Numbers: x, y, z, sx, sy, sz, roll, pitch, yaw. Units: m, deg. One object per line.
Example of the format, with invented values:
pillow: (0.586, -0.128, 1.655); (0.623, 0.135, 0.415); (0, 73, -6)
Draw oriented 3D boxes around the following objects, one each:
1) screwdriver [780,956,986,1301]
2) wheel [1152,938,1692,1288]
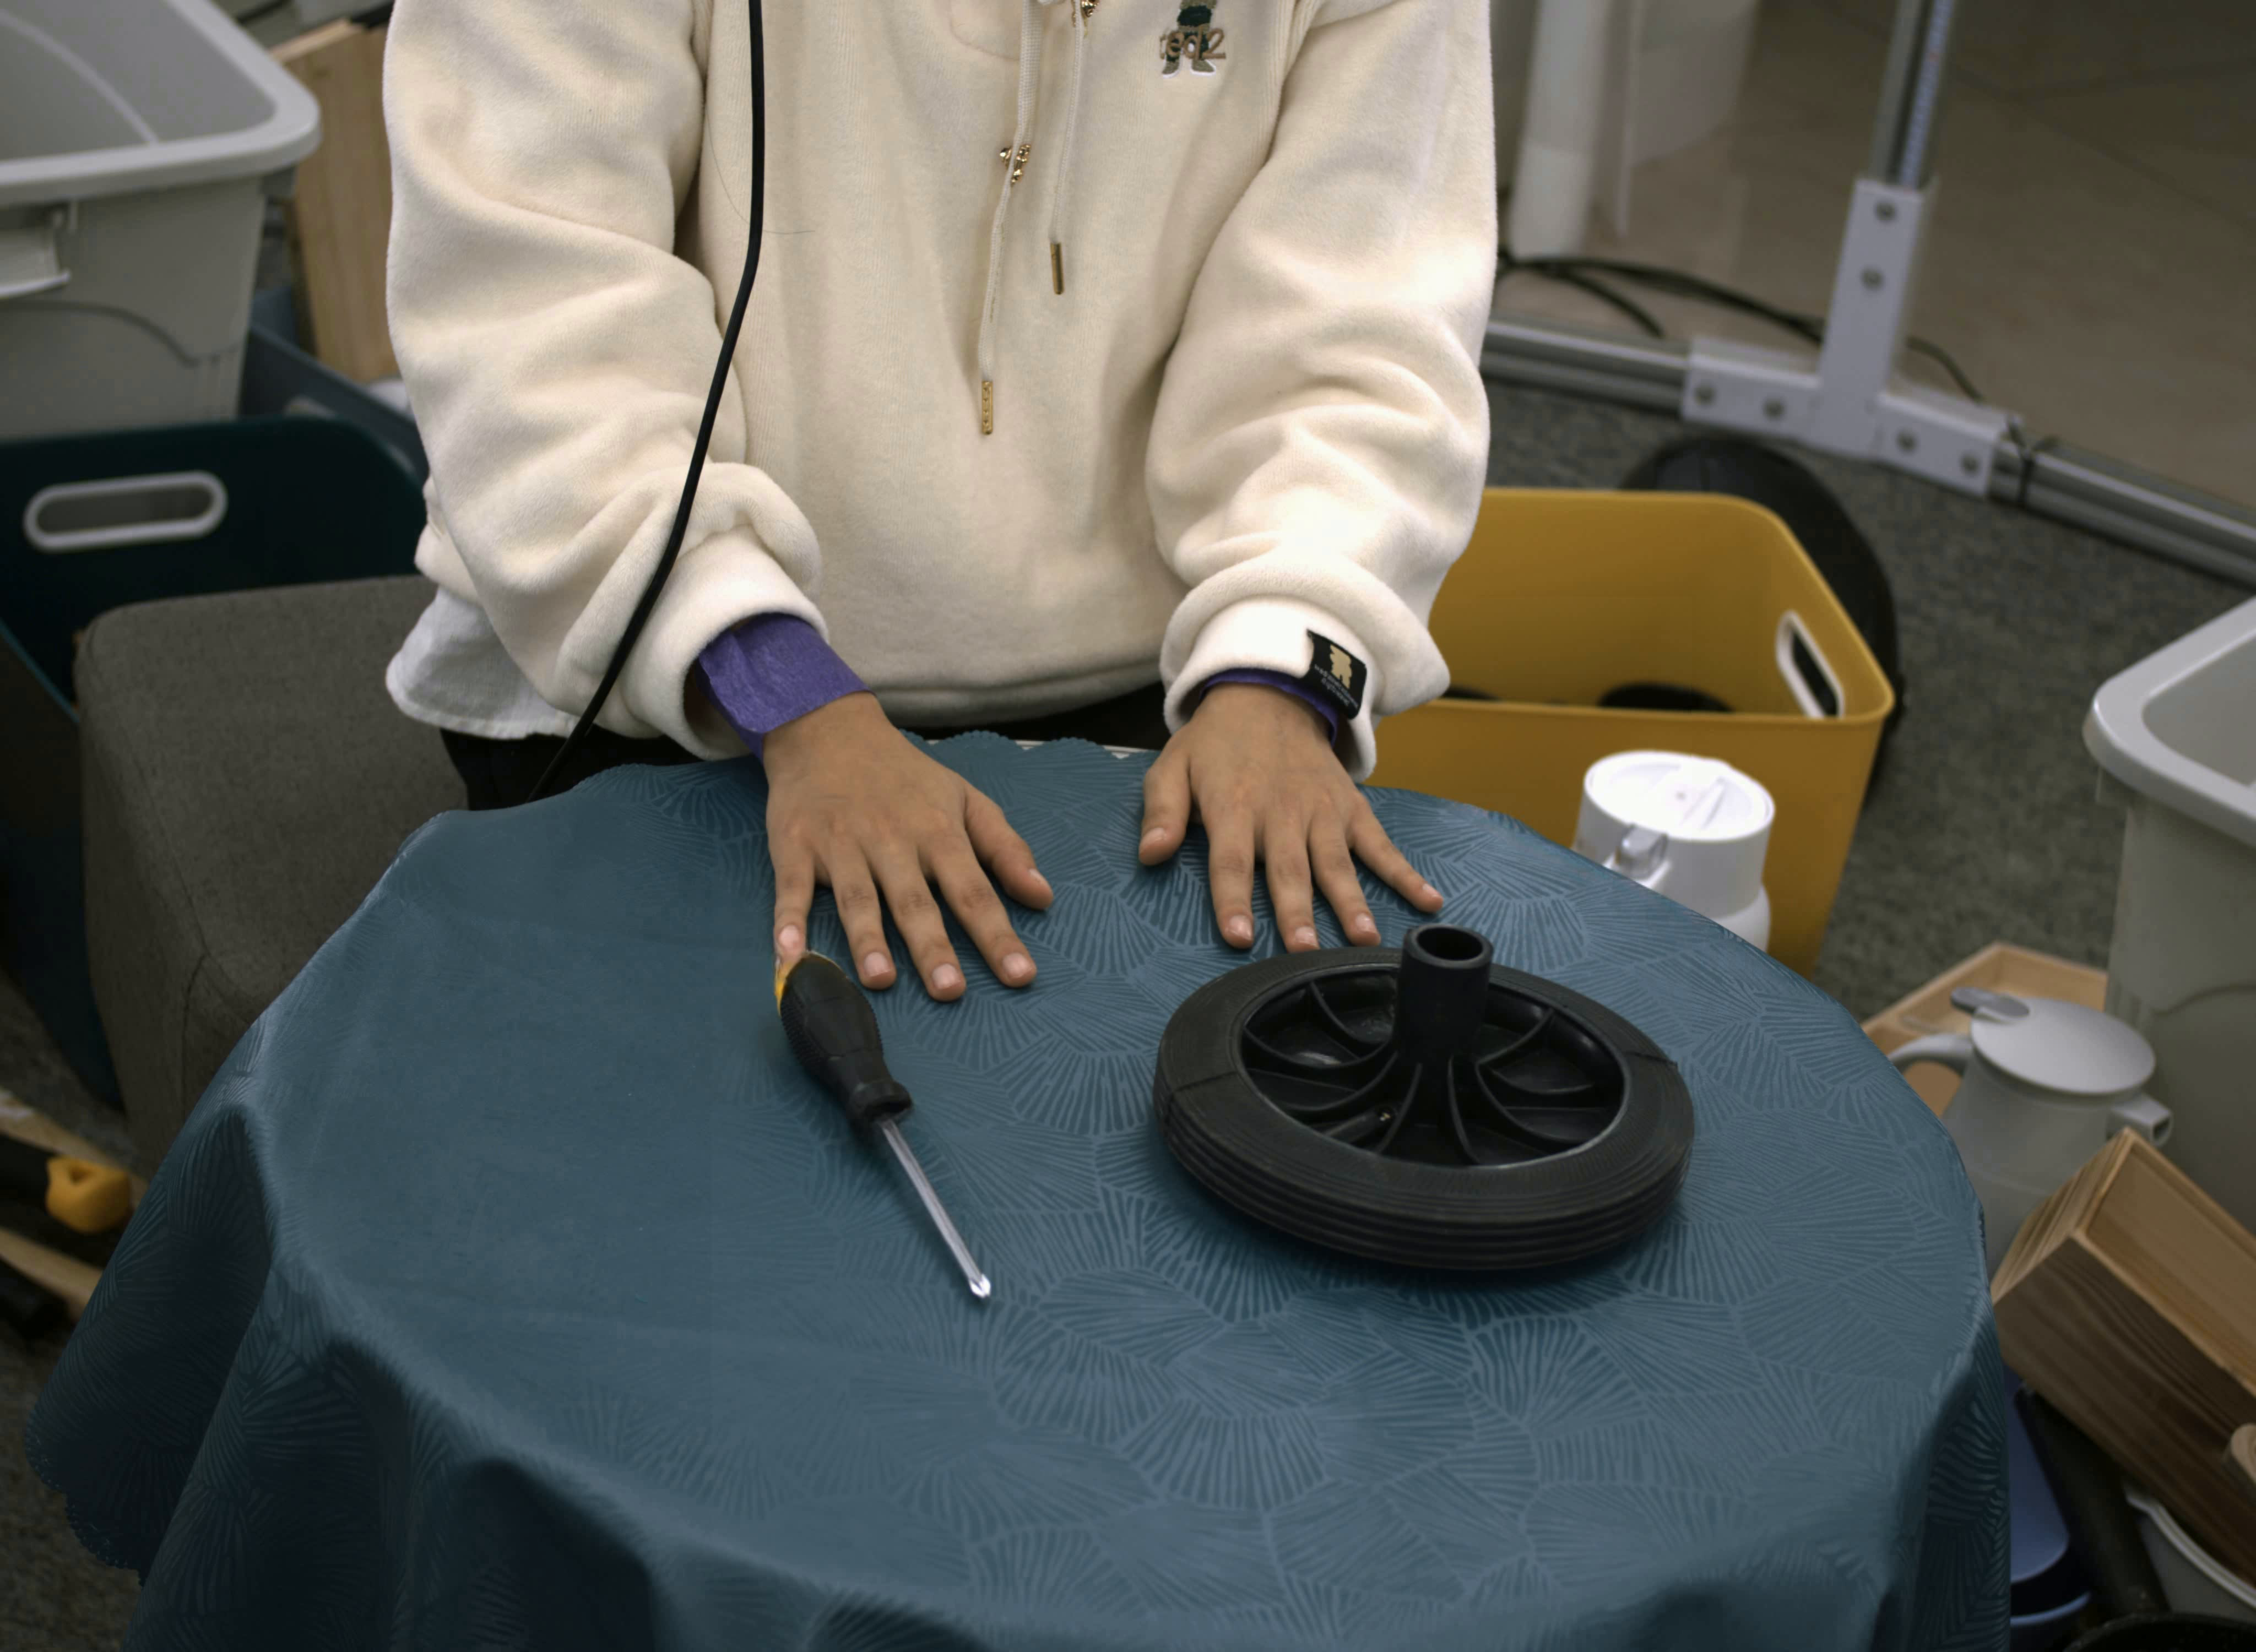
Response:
screwdriver: (-0.077, 0.101, 1.802); (0.031, 0.031, 0.198); (-5, 31, -24)
wheel: (0.103, 0.081, 1.827); (0.188, 0.079, 0.190); (14, 30, 15)
